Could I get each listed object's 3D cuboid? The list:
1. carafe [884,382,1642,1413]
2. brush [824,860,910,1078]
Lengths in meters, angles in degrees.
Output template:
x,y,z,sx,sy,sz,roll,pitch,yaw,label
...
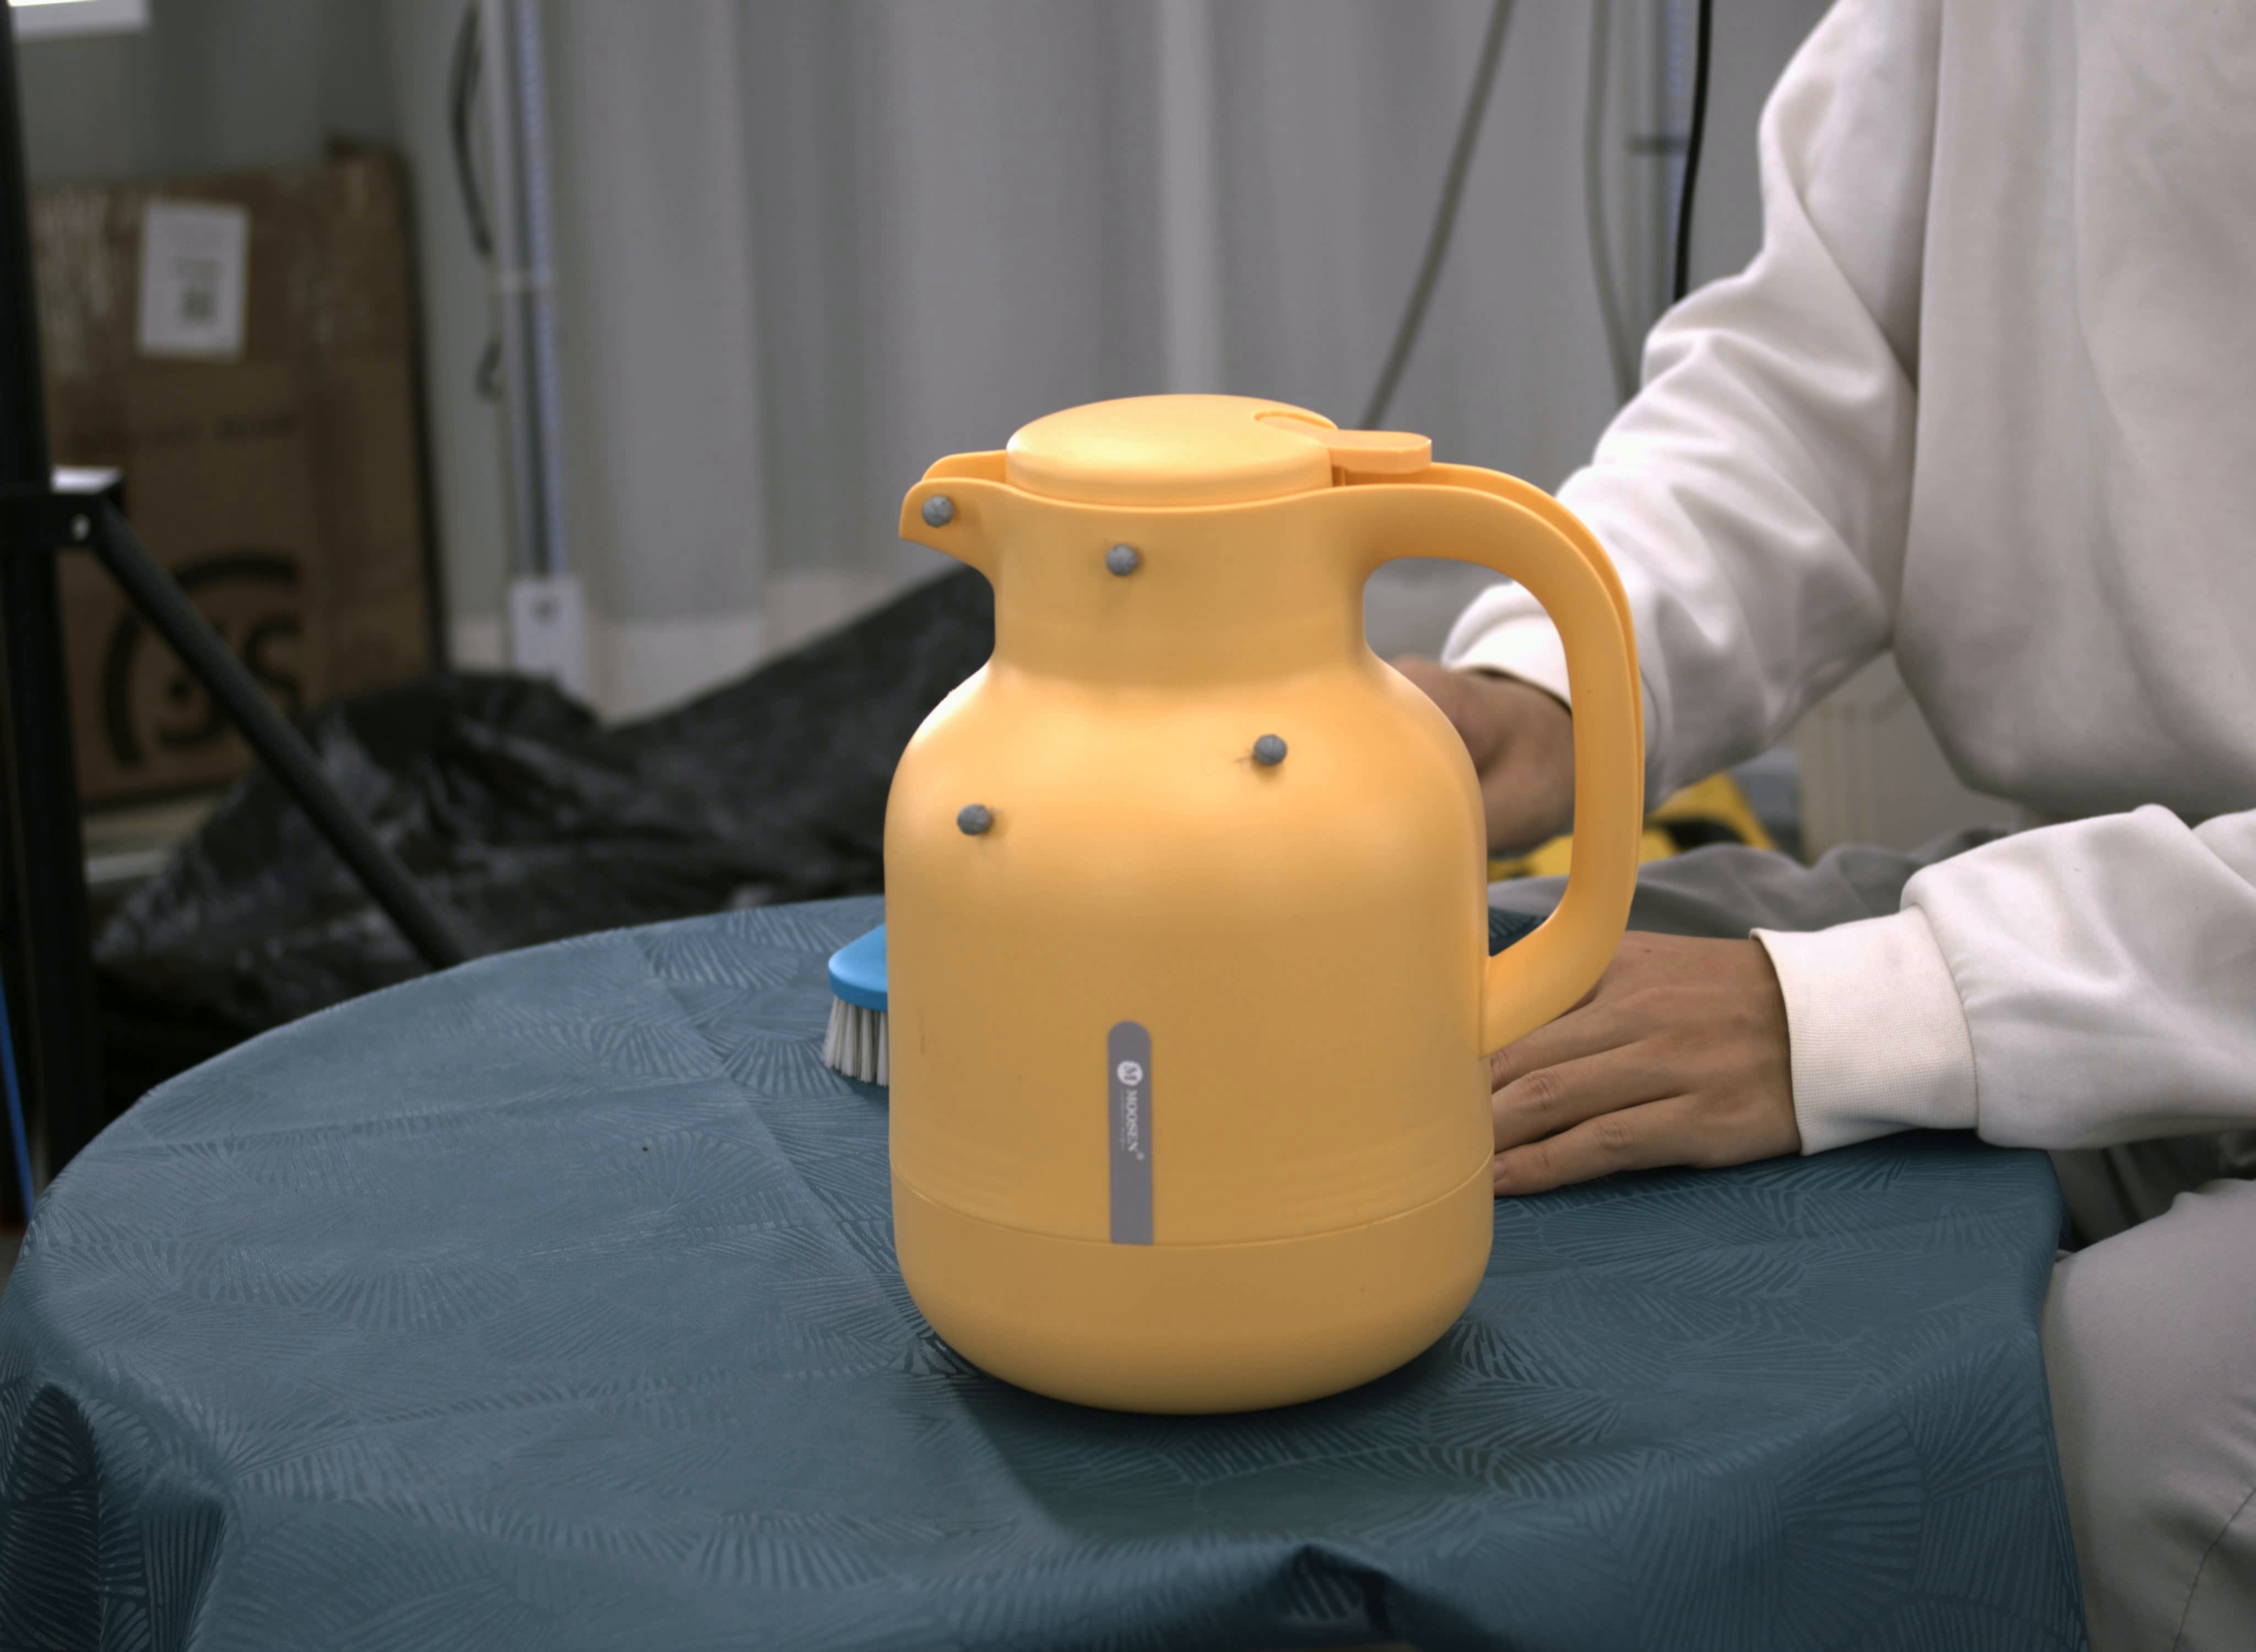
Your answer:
x,y,z,sx,sy,sz,roll,pitch,yaw,label
0.035,0.016,1.404,0.203,0.260,0.162,0,18,13,carafe
-0.044,0.032,1.713,0.086,0.064,0.139,0,14,28,brush
